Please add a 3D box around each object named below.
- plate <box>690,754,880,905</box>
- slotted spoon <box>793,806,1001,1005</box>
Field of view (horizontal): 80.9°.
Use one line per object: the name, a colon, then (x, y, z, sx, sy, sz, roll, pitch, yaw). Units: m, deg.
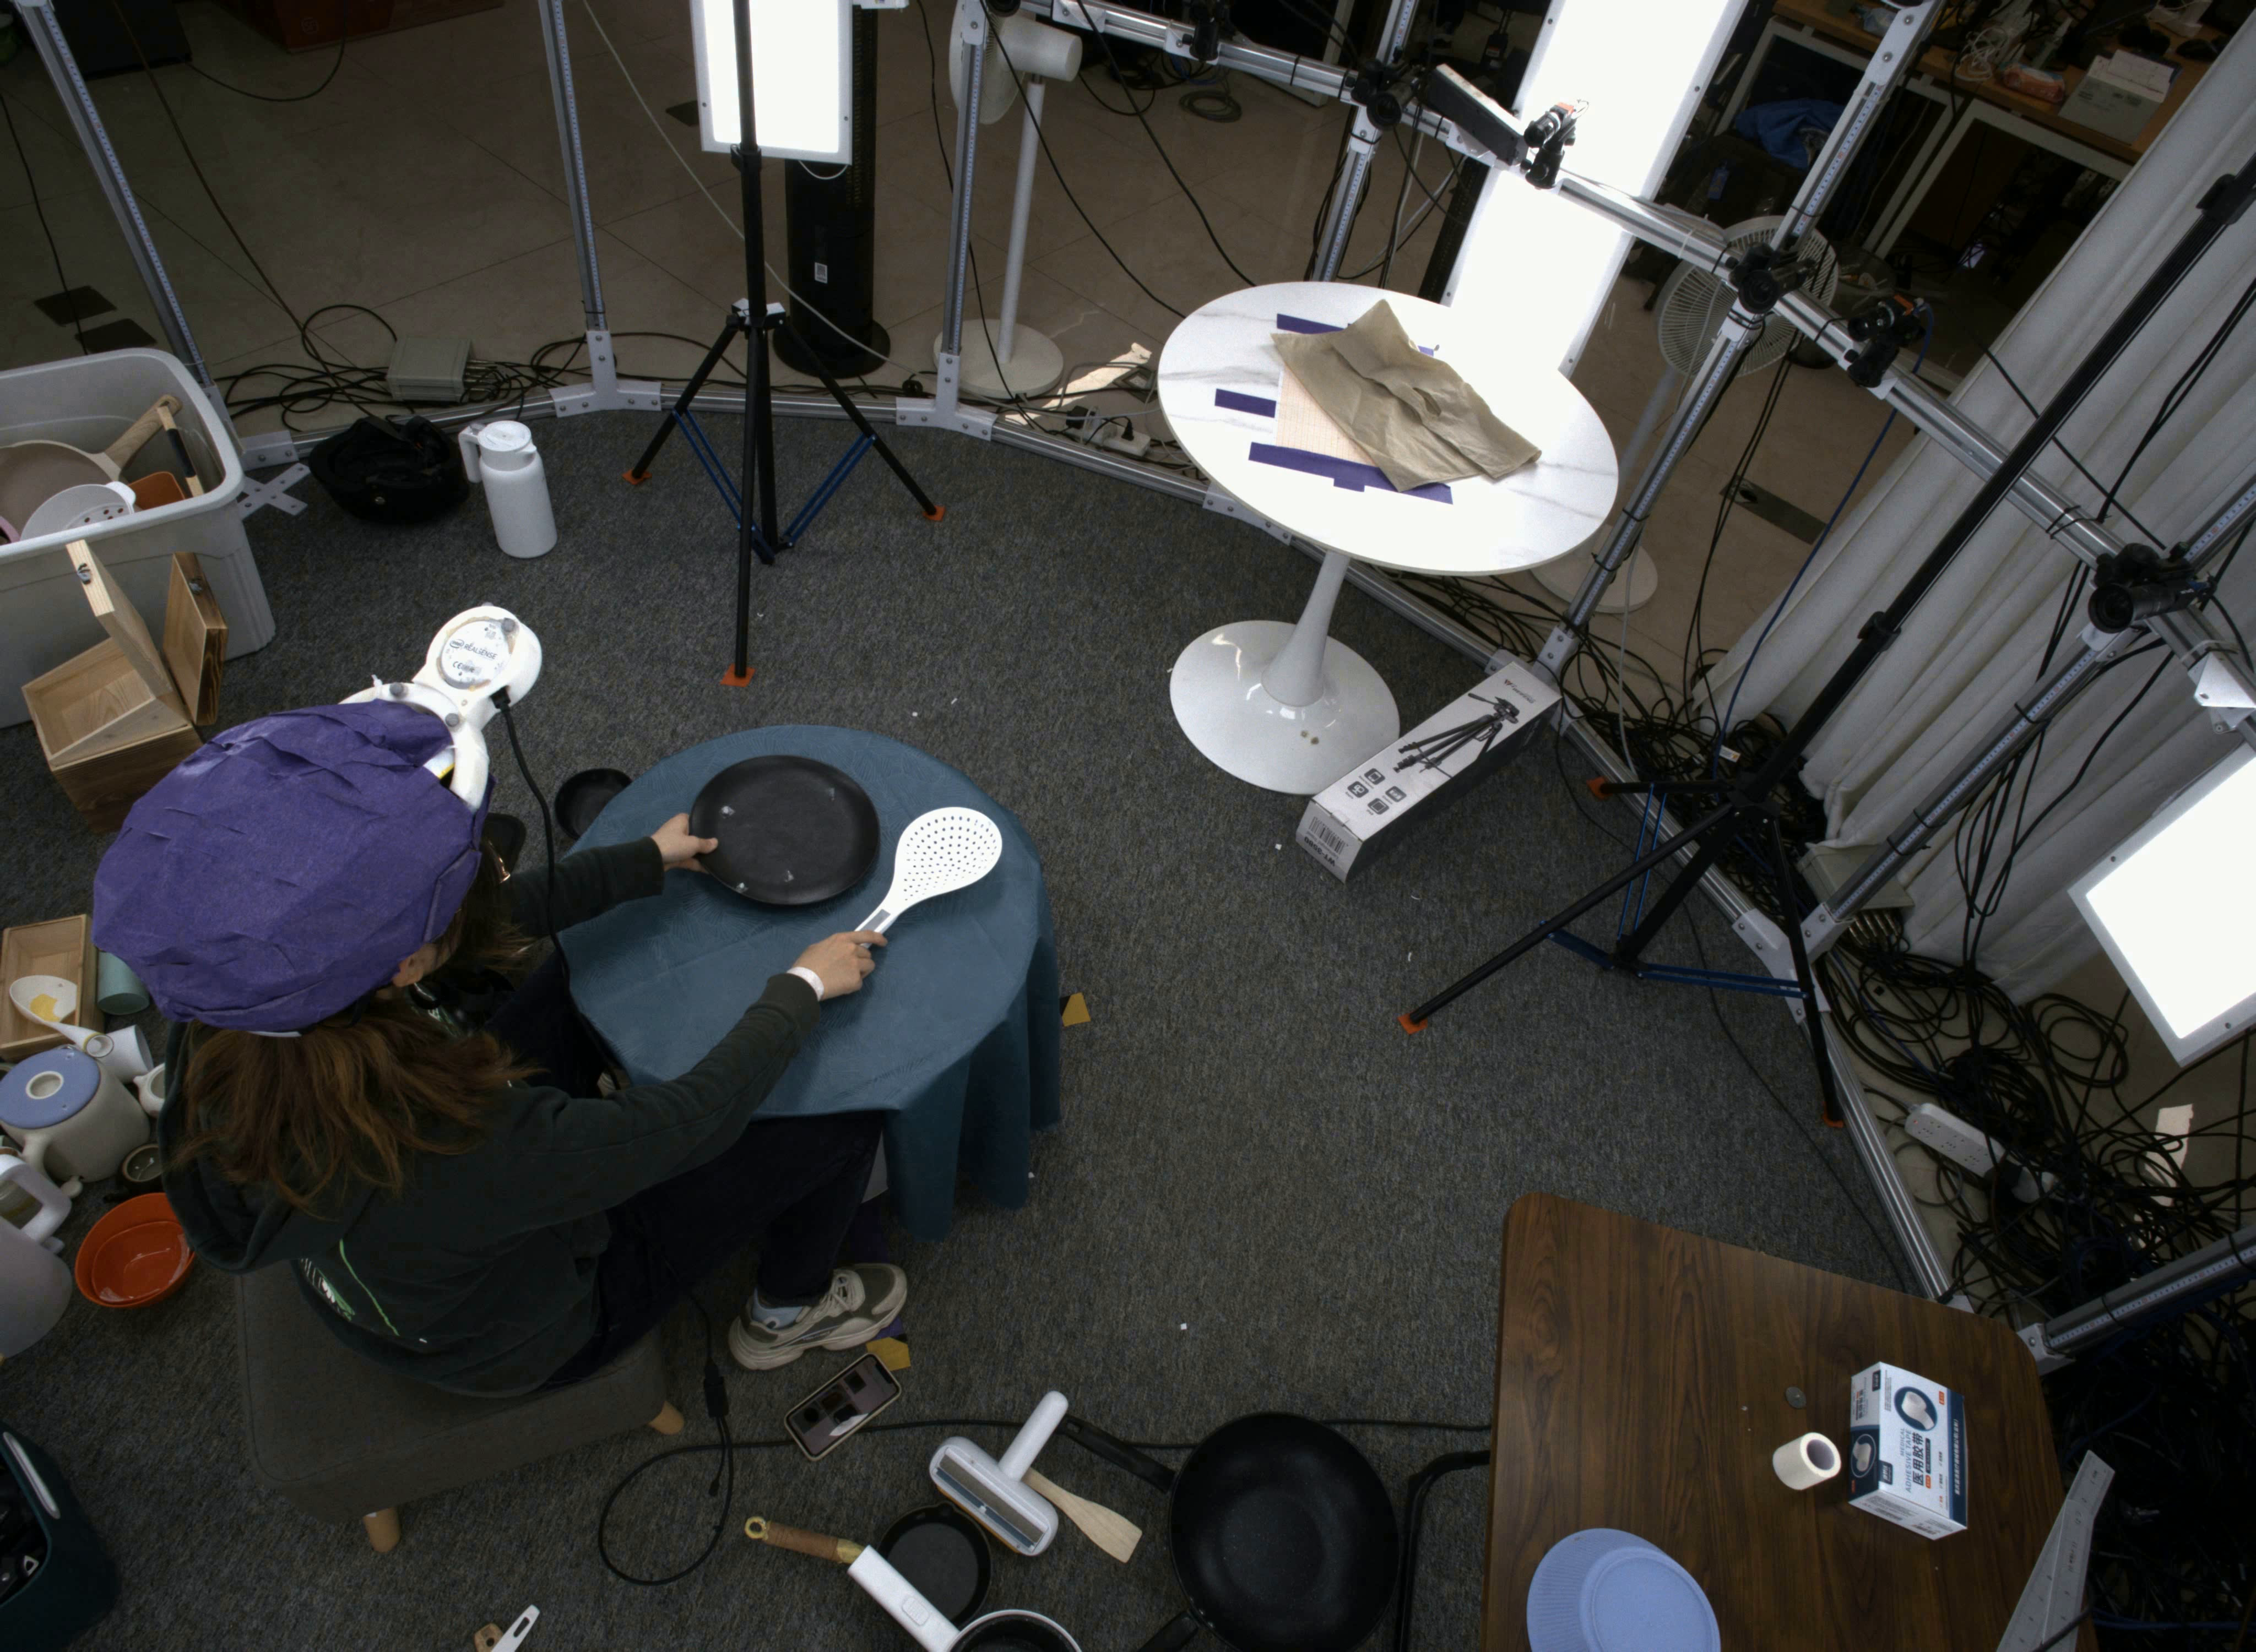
plate: (-0.447, 0.006, 1.693, 0.245, 0.024, 0.240, 12, 52, -13)
slotted spoon: (-0.296, 0.098, 1.656, 0.132, 0.047, 0.349, 28, 51, 22)
